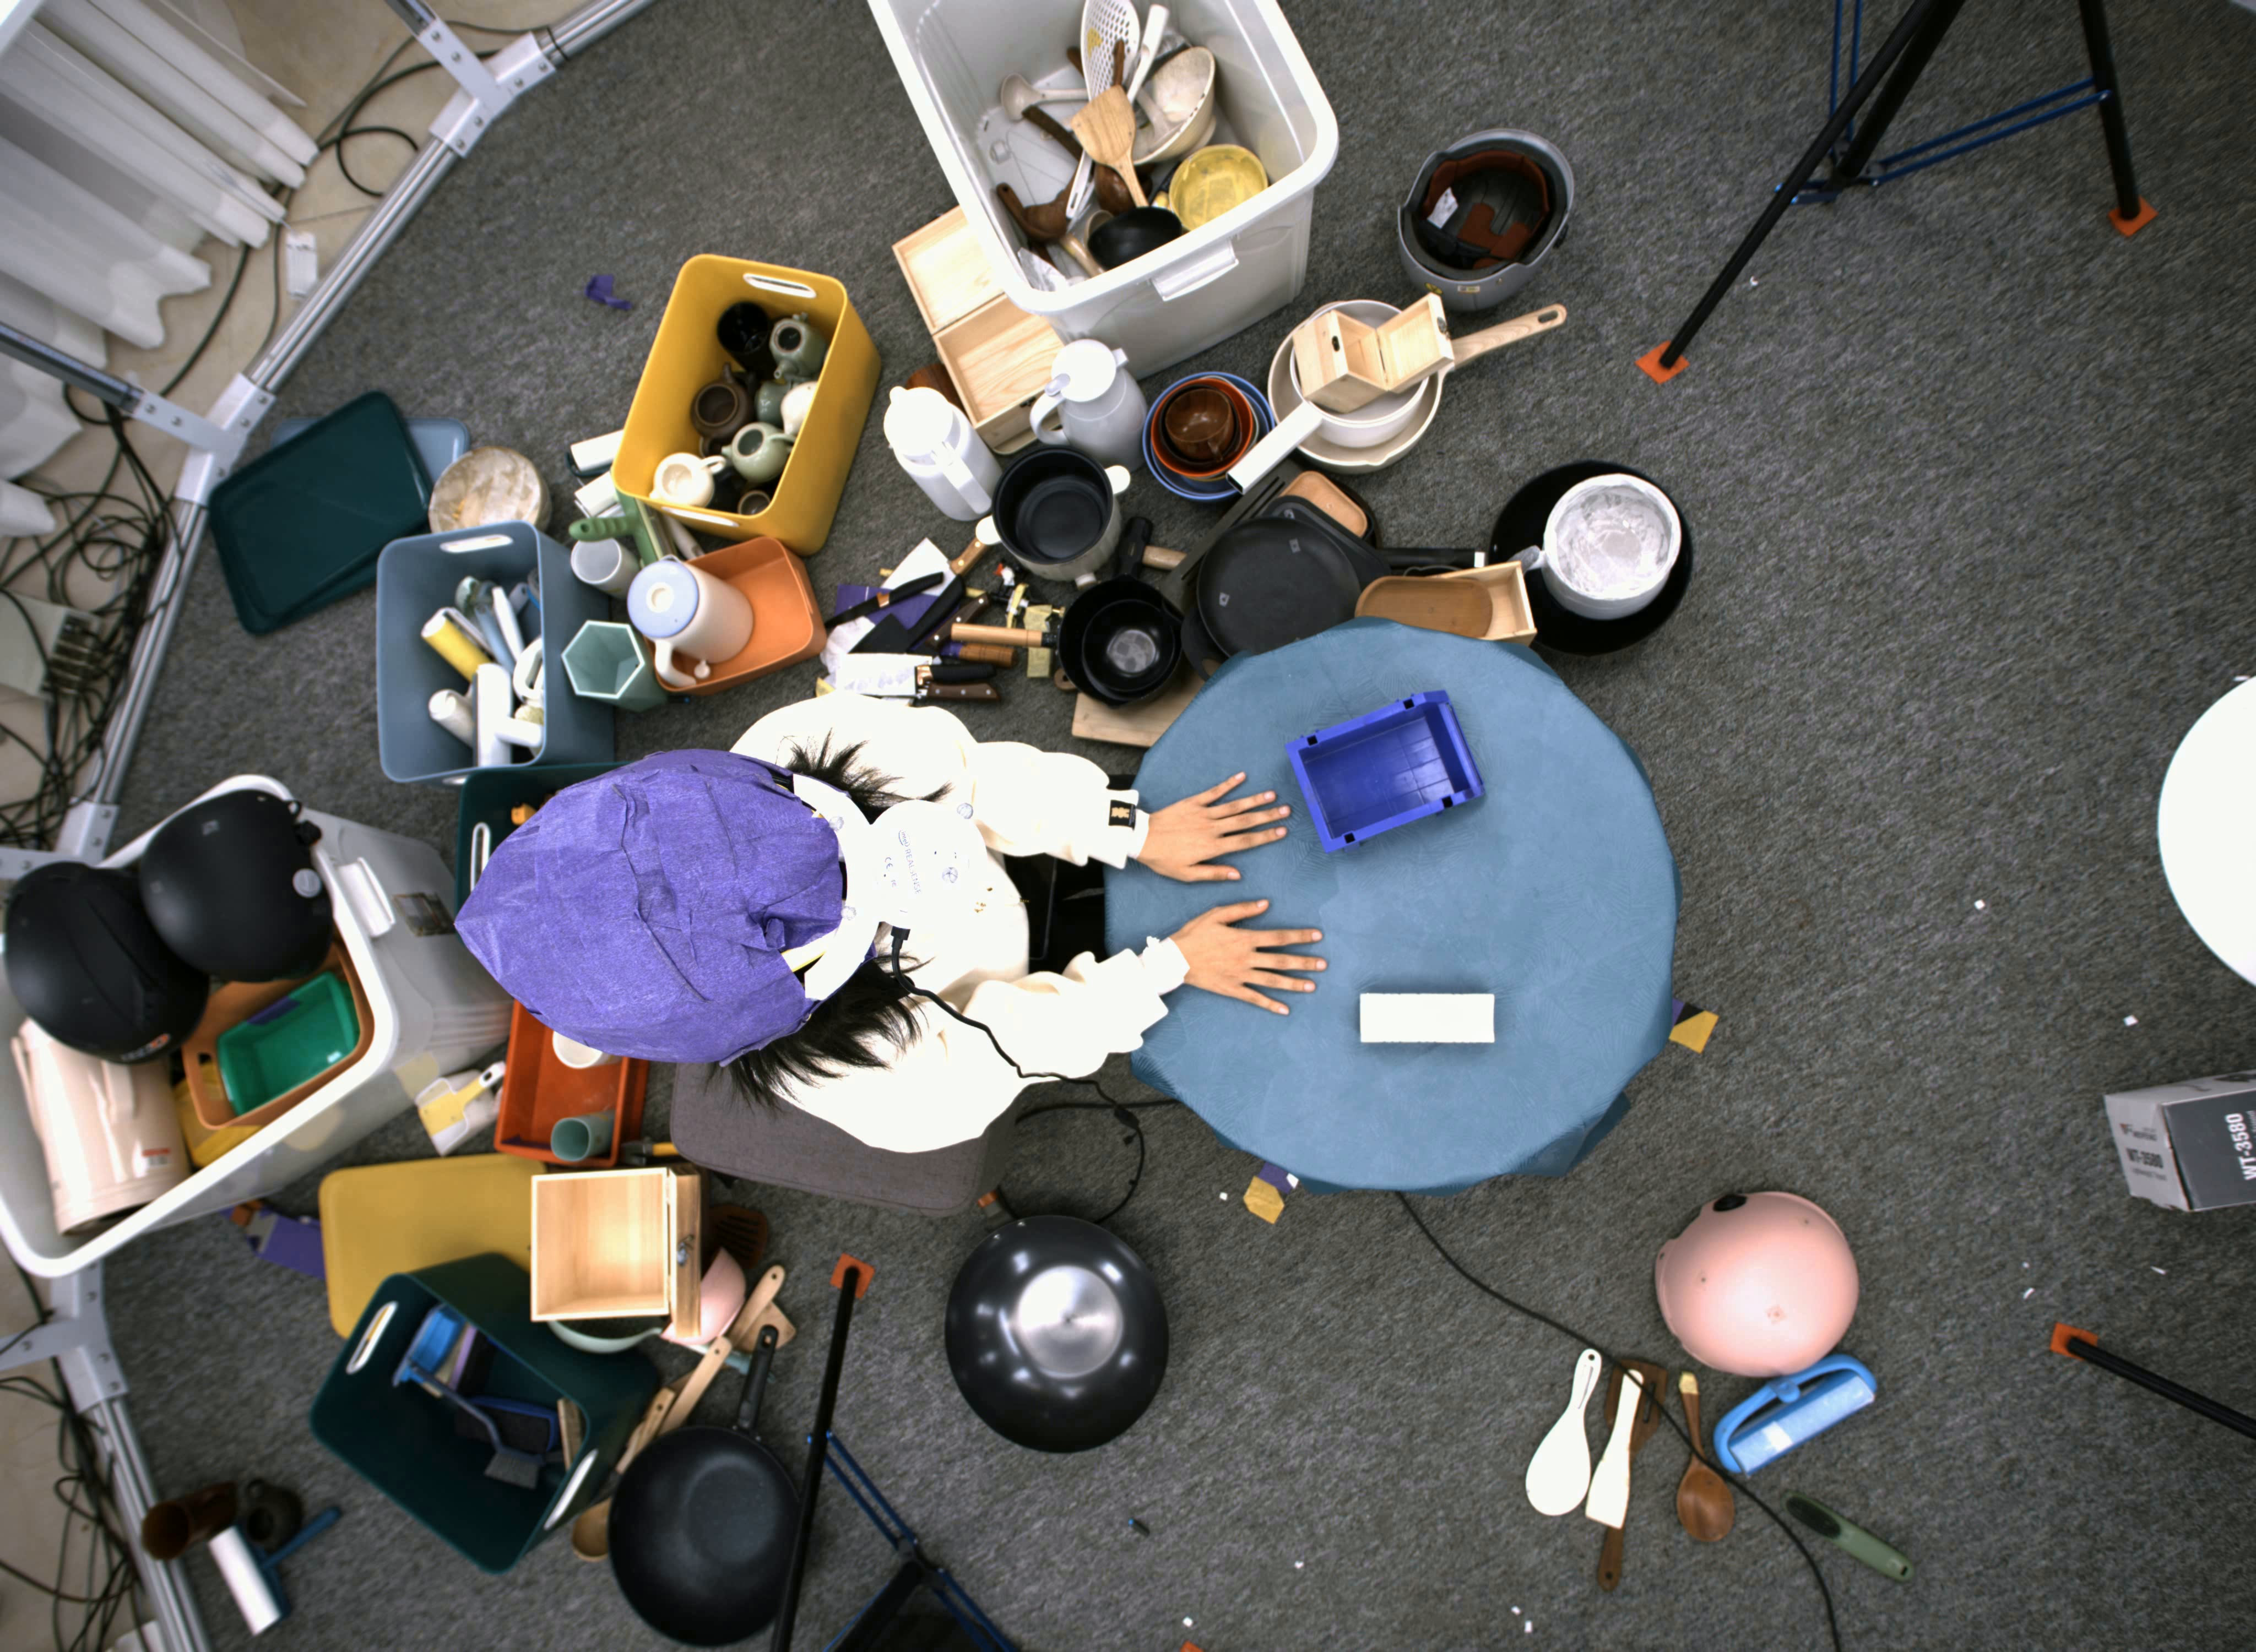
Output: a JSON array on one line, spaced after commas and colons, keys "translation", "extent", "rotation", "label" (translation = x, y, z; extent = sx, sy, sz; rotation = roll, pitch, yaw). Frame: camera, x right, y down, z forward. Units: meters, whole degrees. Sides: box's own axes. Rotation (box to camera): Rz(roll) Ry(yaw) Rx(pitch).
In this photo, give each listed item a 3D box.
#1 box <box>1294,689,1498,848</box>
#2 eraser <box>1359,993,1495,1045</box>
[{"translation": [0.278, -0.062, 1.425], "extent": [0.180, 0.082, 0.124], "rotation": [-19, 83, 11], "label": "box"}, {"translation": [0.307, 0.197, 1.422], "extent": [0.135, 0.046, 0.049], "rotation": [-3, 86, 8], "label": "eraser"}]
